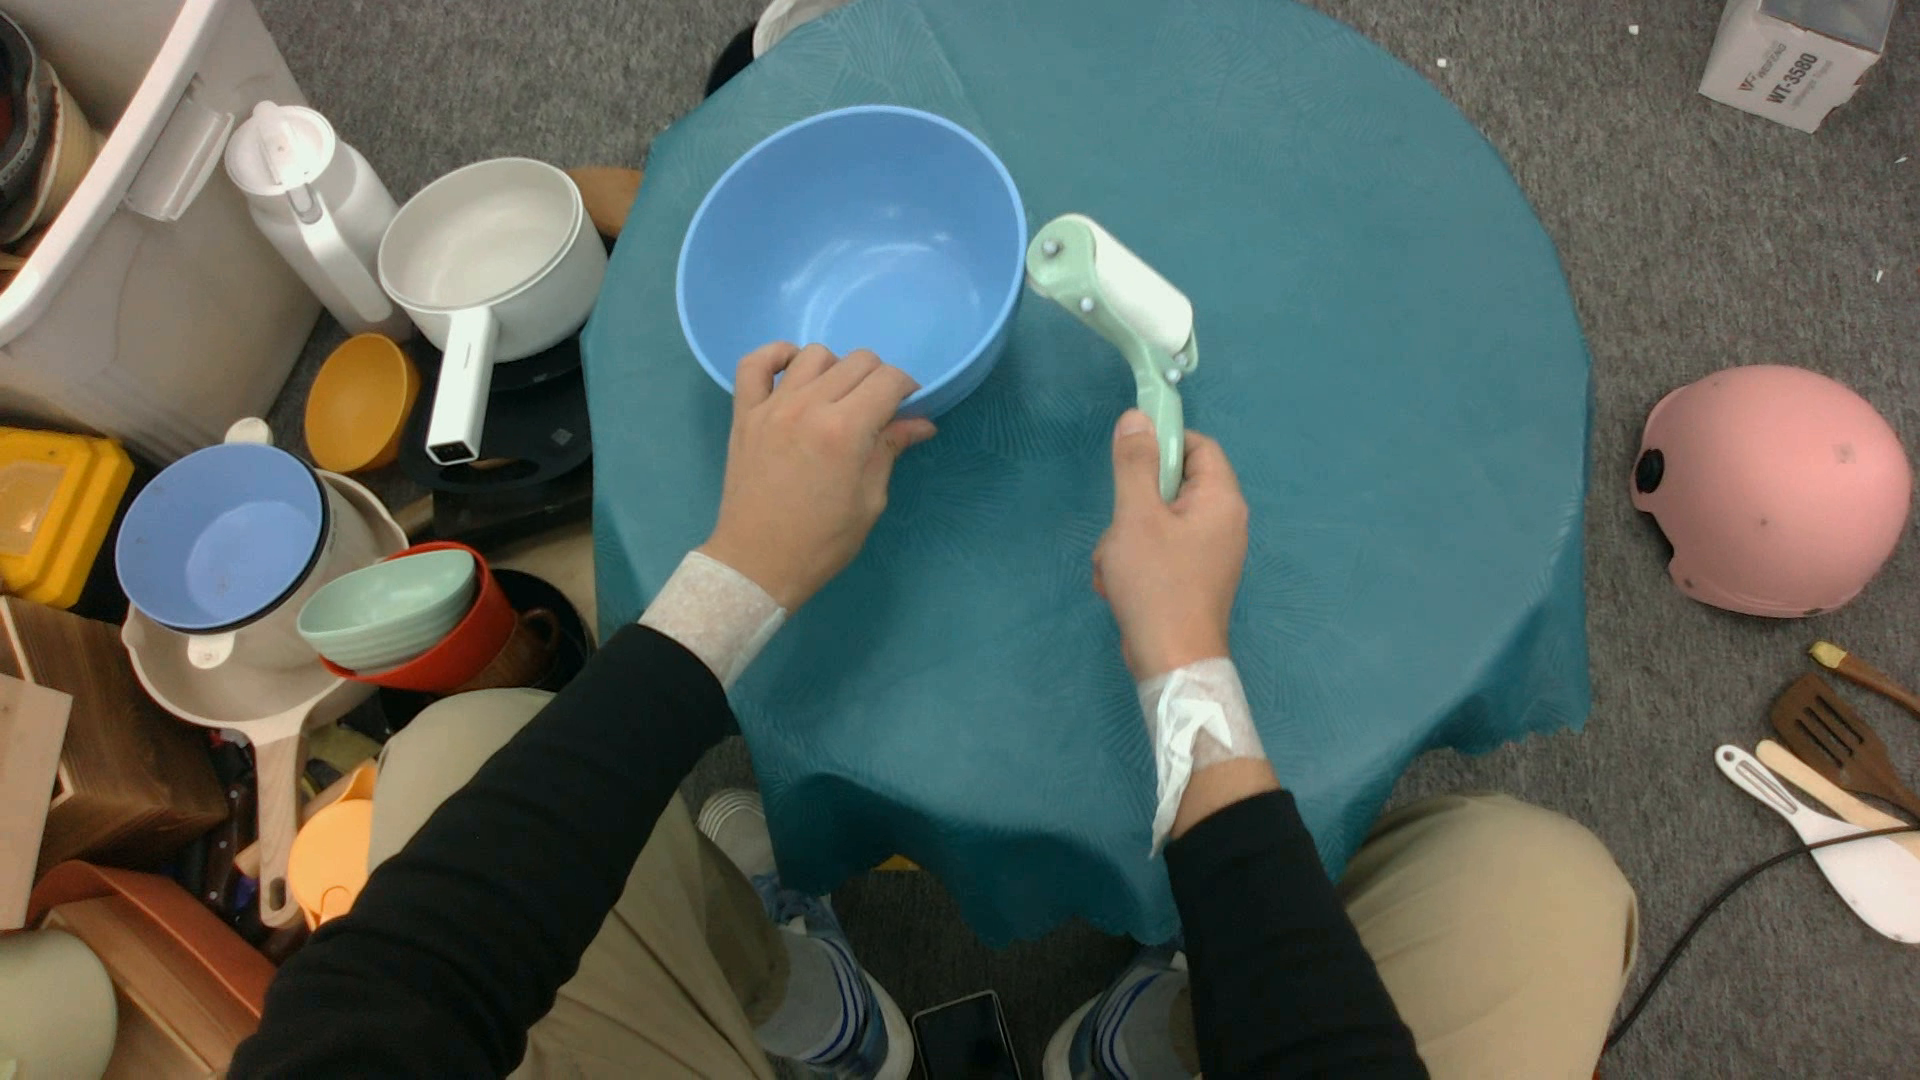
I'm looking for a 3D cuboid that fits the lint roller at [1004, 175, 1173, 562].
[{"bbox_3d":[0.078,-0.086,0.713,0.048,0.116,0.198,-21,64,29],"label":"lint roller"}]

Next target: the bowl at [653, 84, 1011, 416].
[{"bbox_3d":[-0.063,-0.148,0.779,0.196,0.095,0.197,-3,67,8],"label":"bowl"}]
